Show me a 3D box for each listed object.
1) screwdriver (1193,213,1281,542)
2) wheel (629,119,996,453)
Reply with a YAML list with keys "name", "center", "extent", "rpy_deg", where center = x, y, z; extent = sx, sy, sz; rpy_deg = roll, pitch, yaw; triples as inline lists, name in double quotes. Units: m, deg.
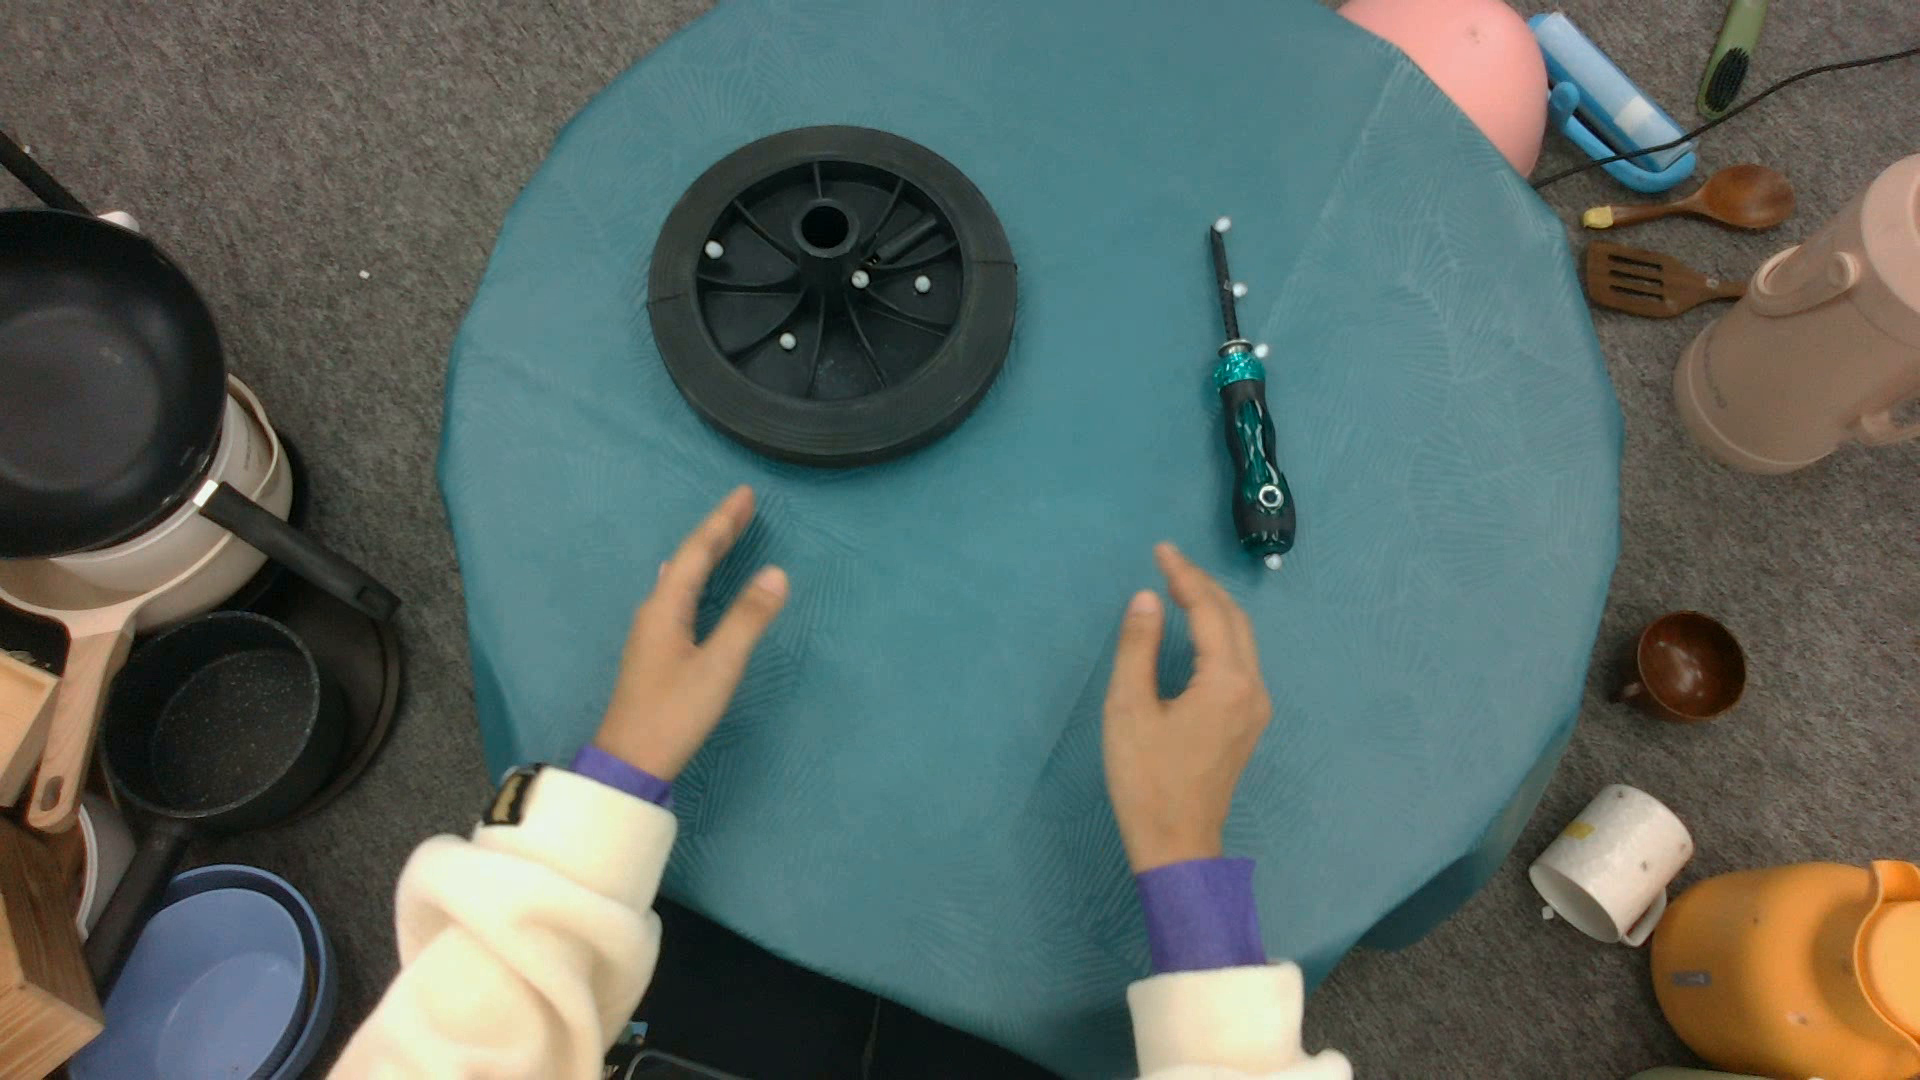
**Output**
- name: "screwdriver"
  center: [0.136, -0.089, 0.707]
  extent: [0.034, 0.033, 0.190]
  rpy_deg: [-4, 66, -3]
- name: "wheel"
  center: [-0.073, -0.141, 0.688]
  extent: [0.187, 0.079, 0.190]
  rpy_deg: [27, 70, 6]
